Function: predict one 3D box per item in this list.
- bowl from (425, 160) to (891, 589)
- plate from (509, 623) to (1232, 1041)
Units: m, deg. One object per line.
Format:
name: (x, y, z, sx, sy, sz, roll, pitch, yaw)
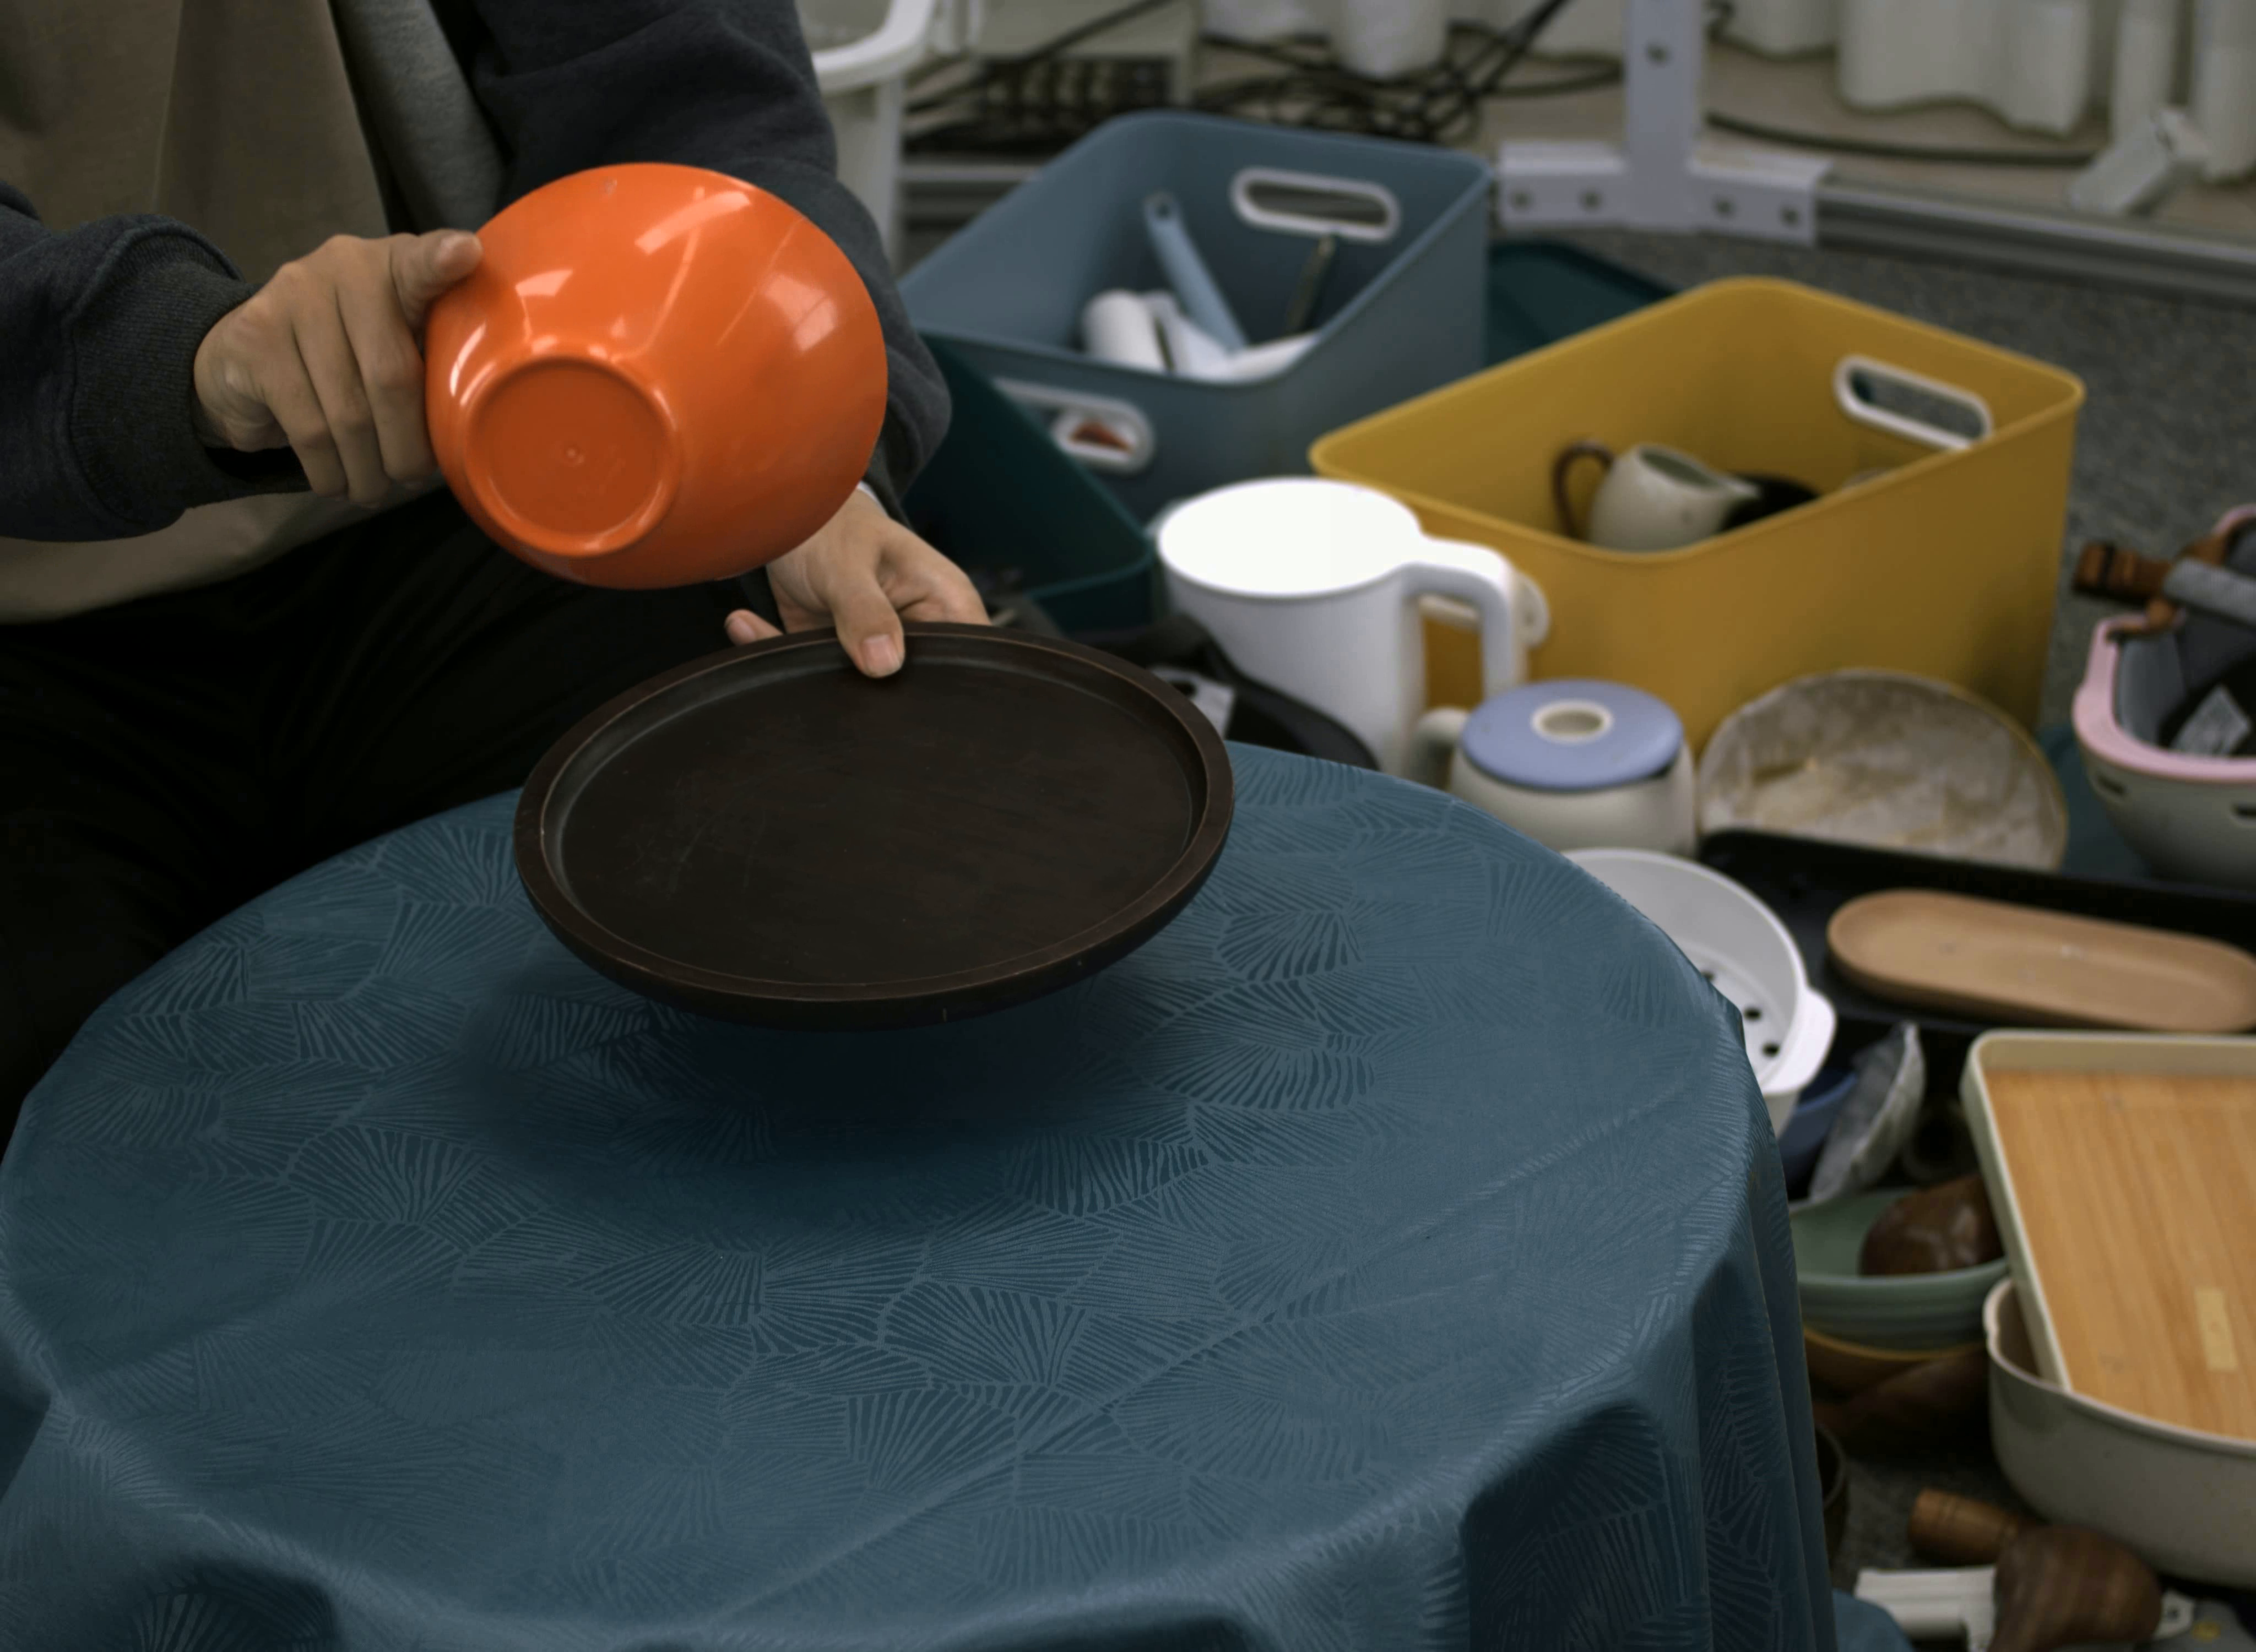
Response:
bowl: (-0.154, -0.127, 1.762, 0.147, 0.146, 0.106, 1, 24, 8)
plate: (-0.088, 0.000, 1.957, 0.253, 0.028, 0.259, -3, 31, 2)
